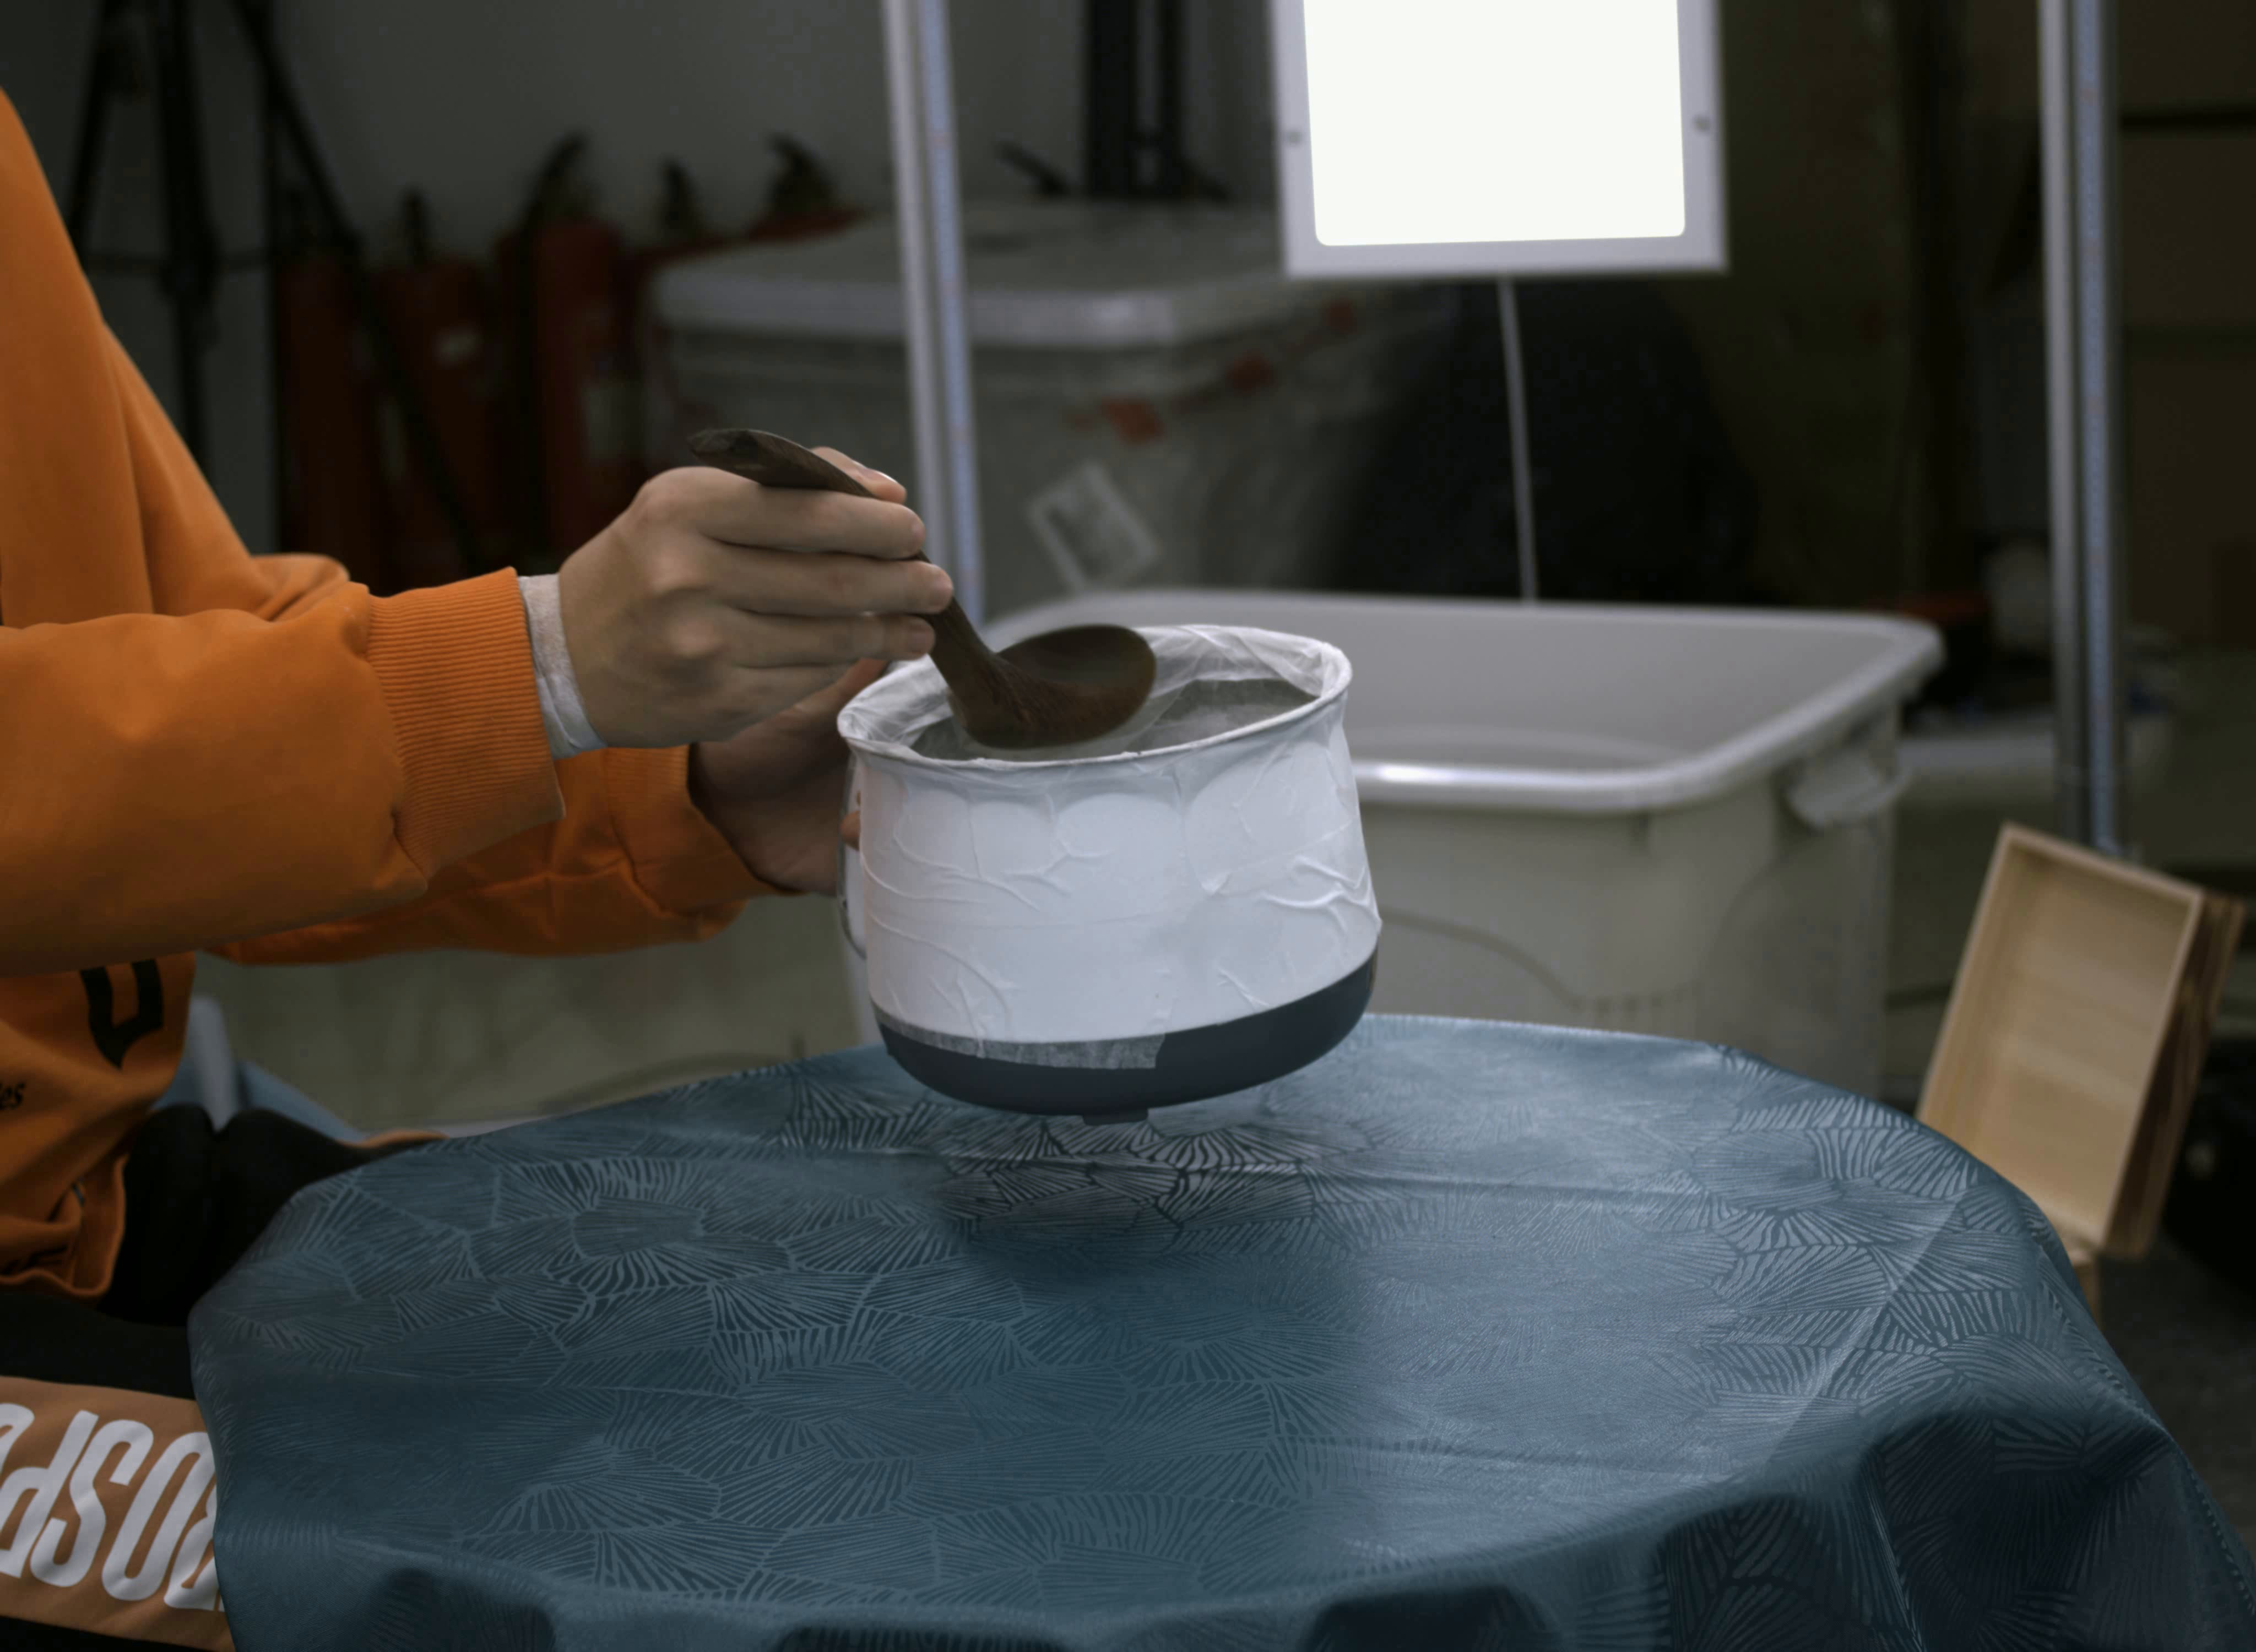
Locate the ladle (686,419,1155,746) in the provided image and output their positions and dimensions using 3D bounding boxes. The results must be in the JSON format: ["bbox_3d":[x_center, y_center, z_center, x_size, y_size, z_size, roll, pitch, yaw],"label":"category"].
[{"bbox_3d":[-0.070,-0.096,1.811,0.077,0.071,0.270,-8,-27,23],"label":"ladle"}]

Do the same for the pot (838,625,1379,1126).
[{"bbox_3d":[-0.023,0.012,1.906,0.174,0.137,0.239,-18,19,-38],"label":"pot"}]
